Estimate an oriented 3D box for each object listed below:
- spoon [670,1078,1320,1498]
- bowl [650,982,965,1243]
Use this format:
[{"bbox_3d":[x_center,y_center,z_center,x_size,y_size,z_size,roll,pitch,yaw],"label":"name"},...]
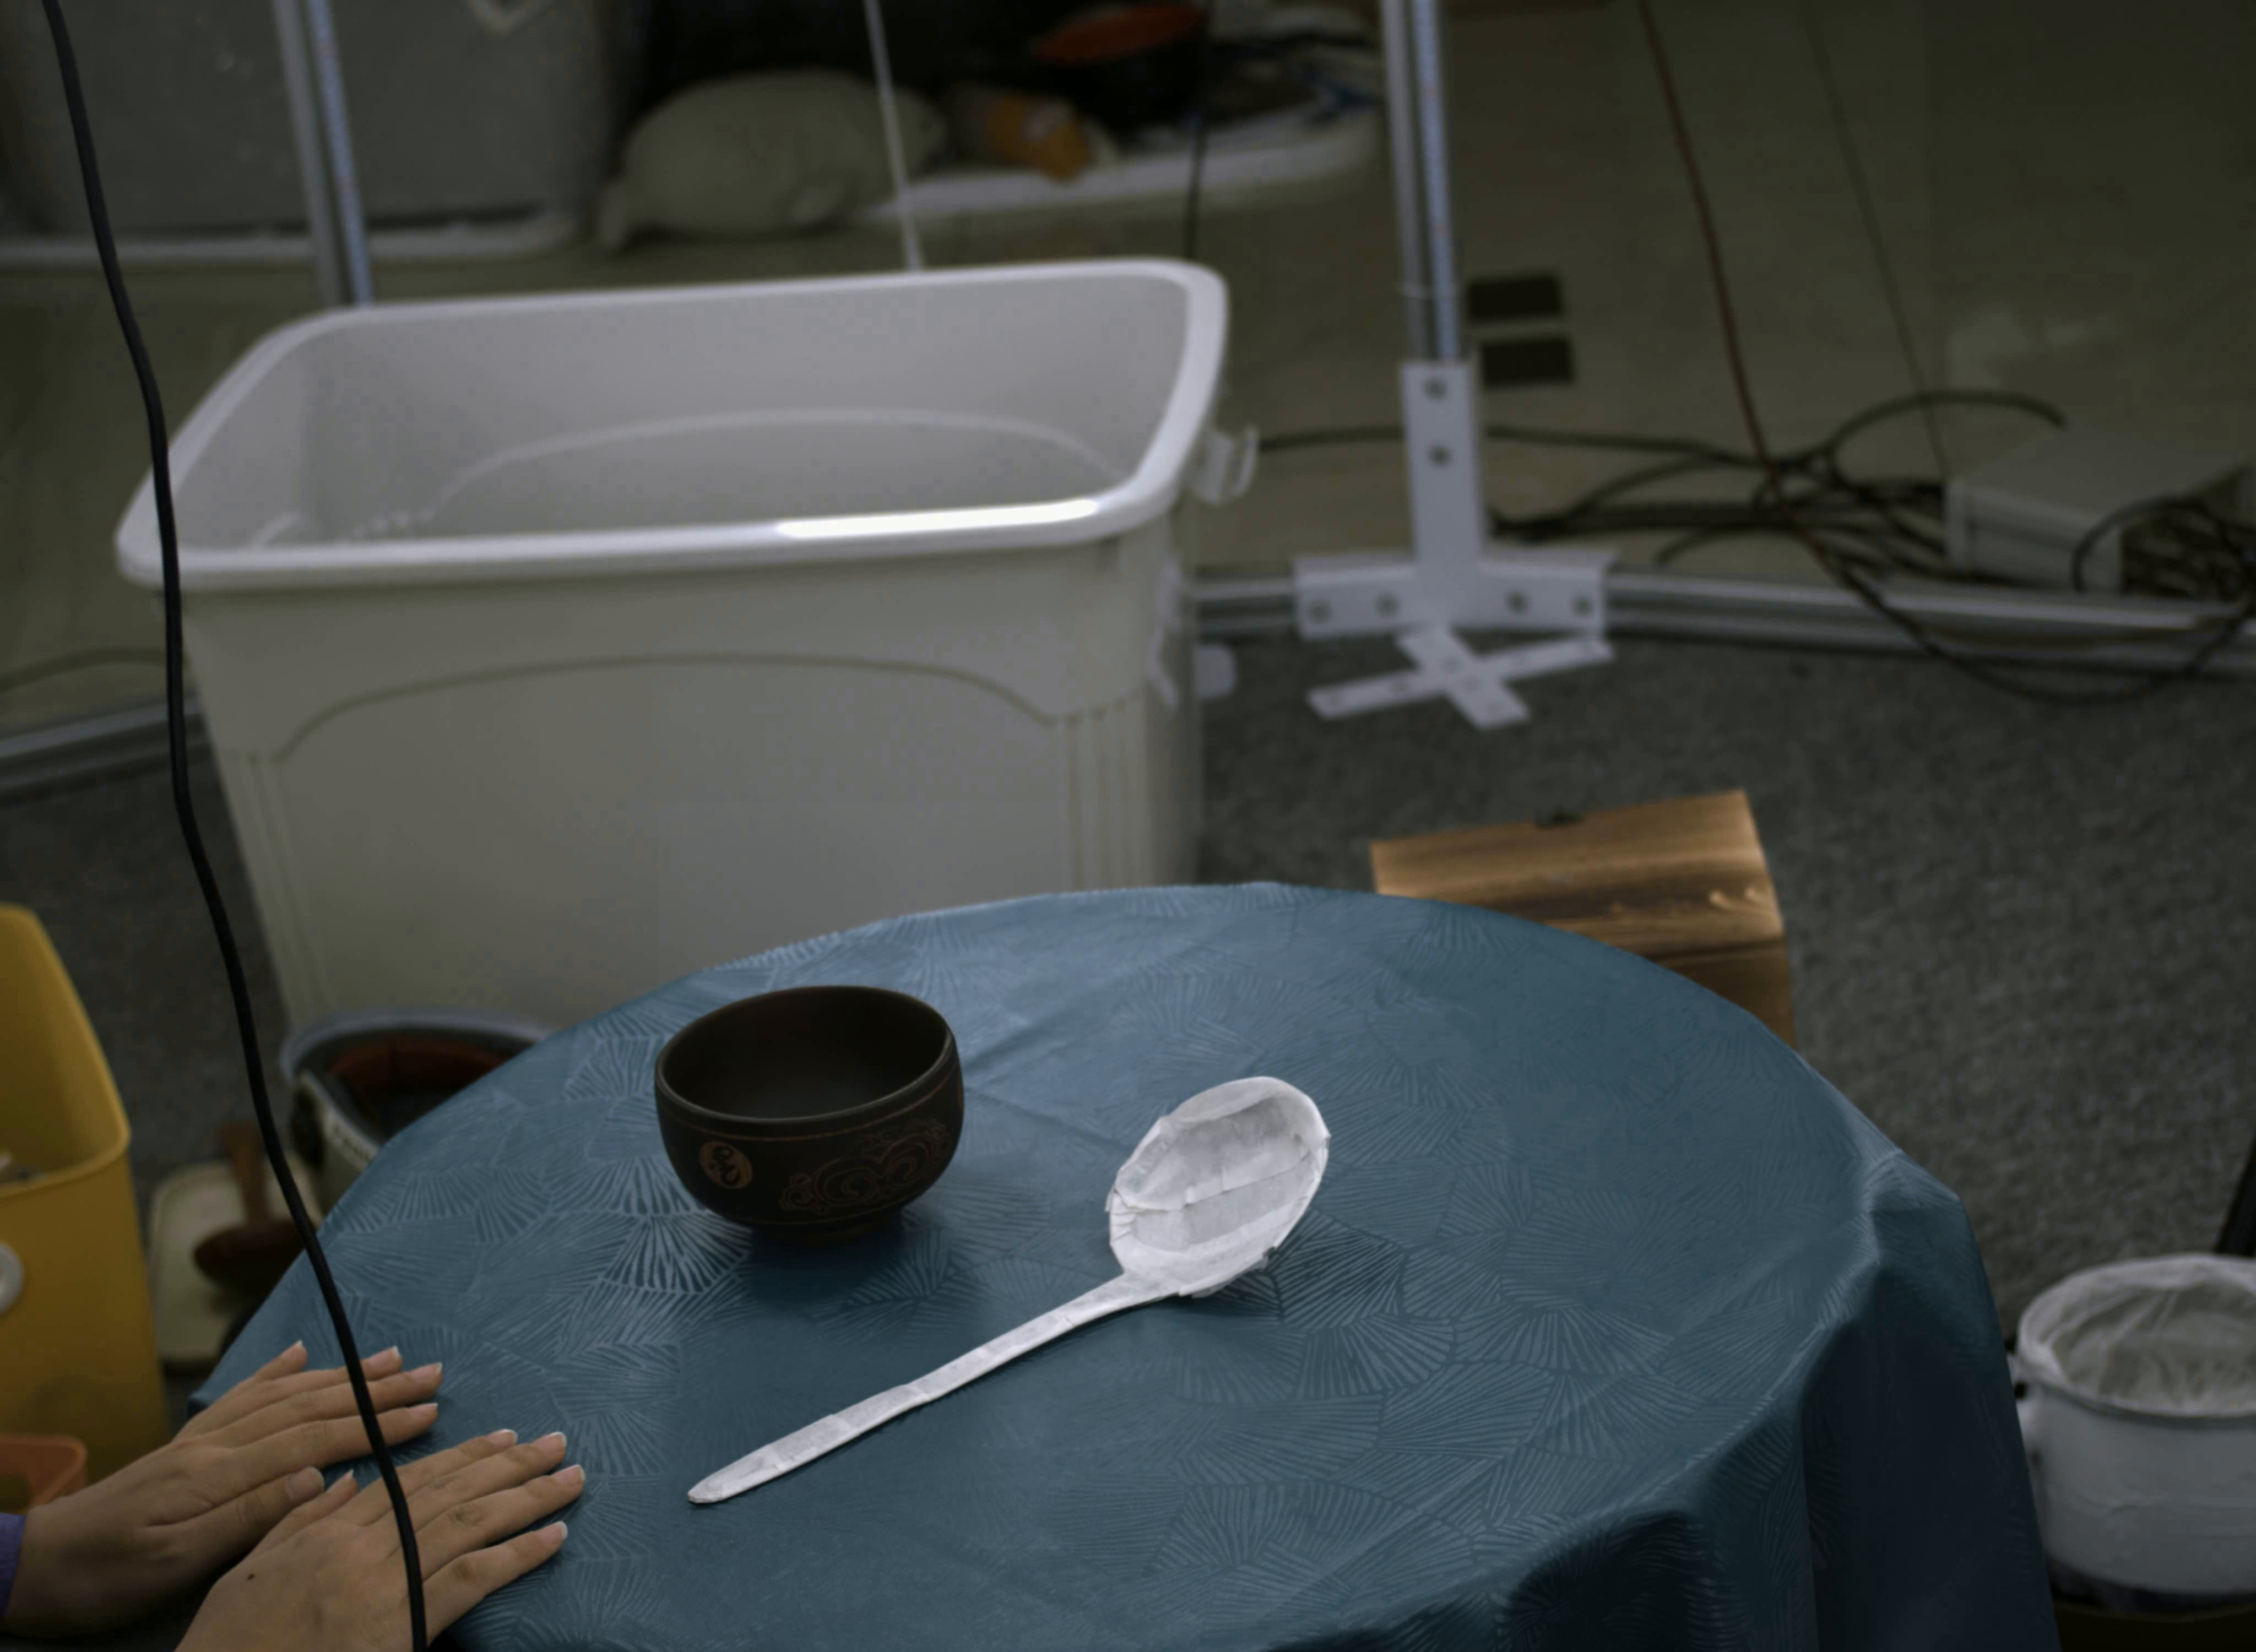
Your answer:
[{"bbox_3d":[-0.051,0.163,2.040,0.276,0.060,0.100,-21,25,-28],"label":"spoon"},{"bbox_3d":[-0.119,0.114,2.143,0.118,0.071,0.116,-5,25,3],"label":"bowl"}]
